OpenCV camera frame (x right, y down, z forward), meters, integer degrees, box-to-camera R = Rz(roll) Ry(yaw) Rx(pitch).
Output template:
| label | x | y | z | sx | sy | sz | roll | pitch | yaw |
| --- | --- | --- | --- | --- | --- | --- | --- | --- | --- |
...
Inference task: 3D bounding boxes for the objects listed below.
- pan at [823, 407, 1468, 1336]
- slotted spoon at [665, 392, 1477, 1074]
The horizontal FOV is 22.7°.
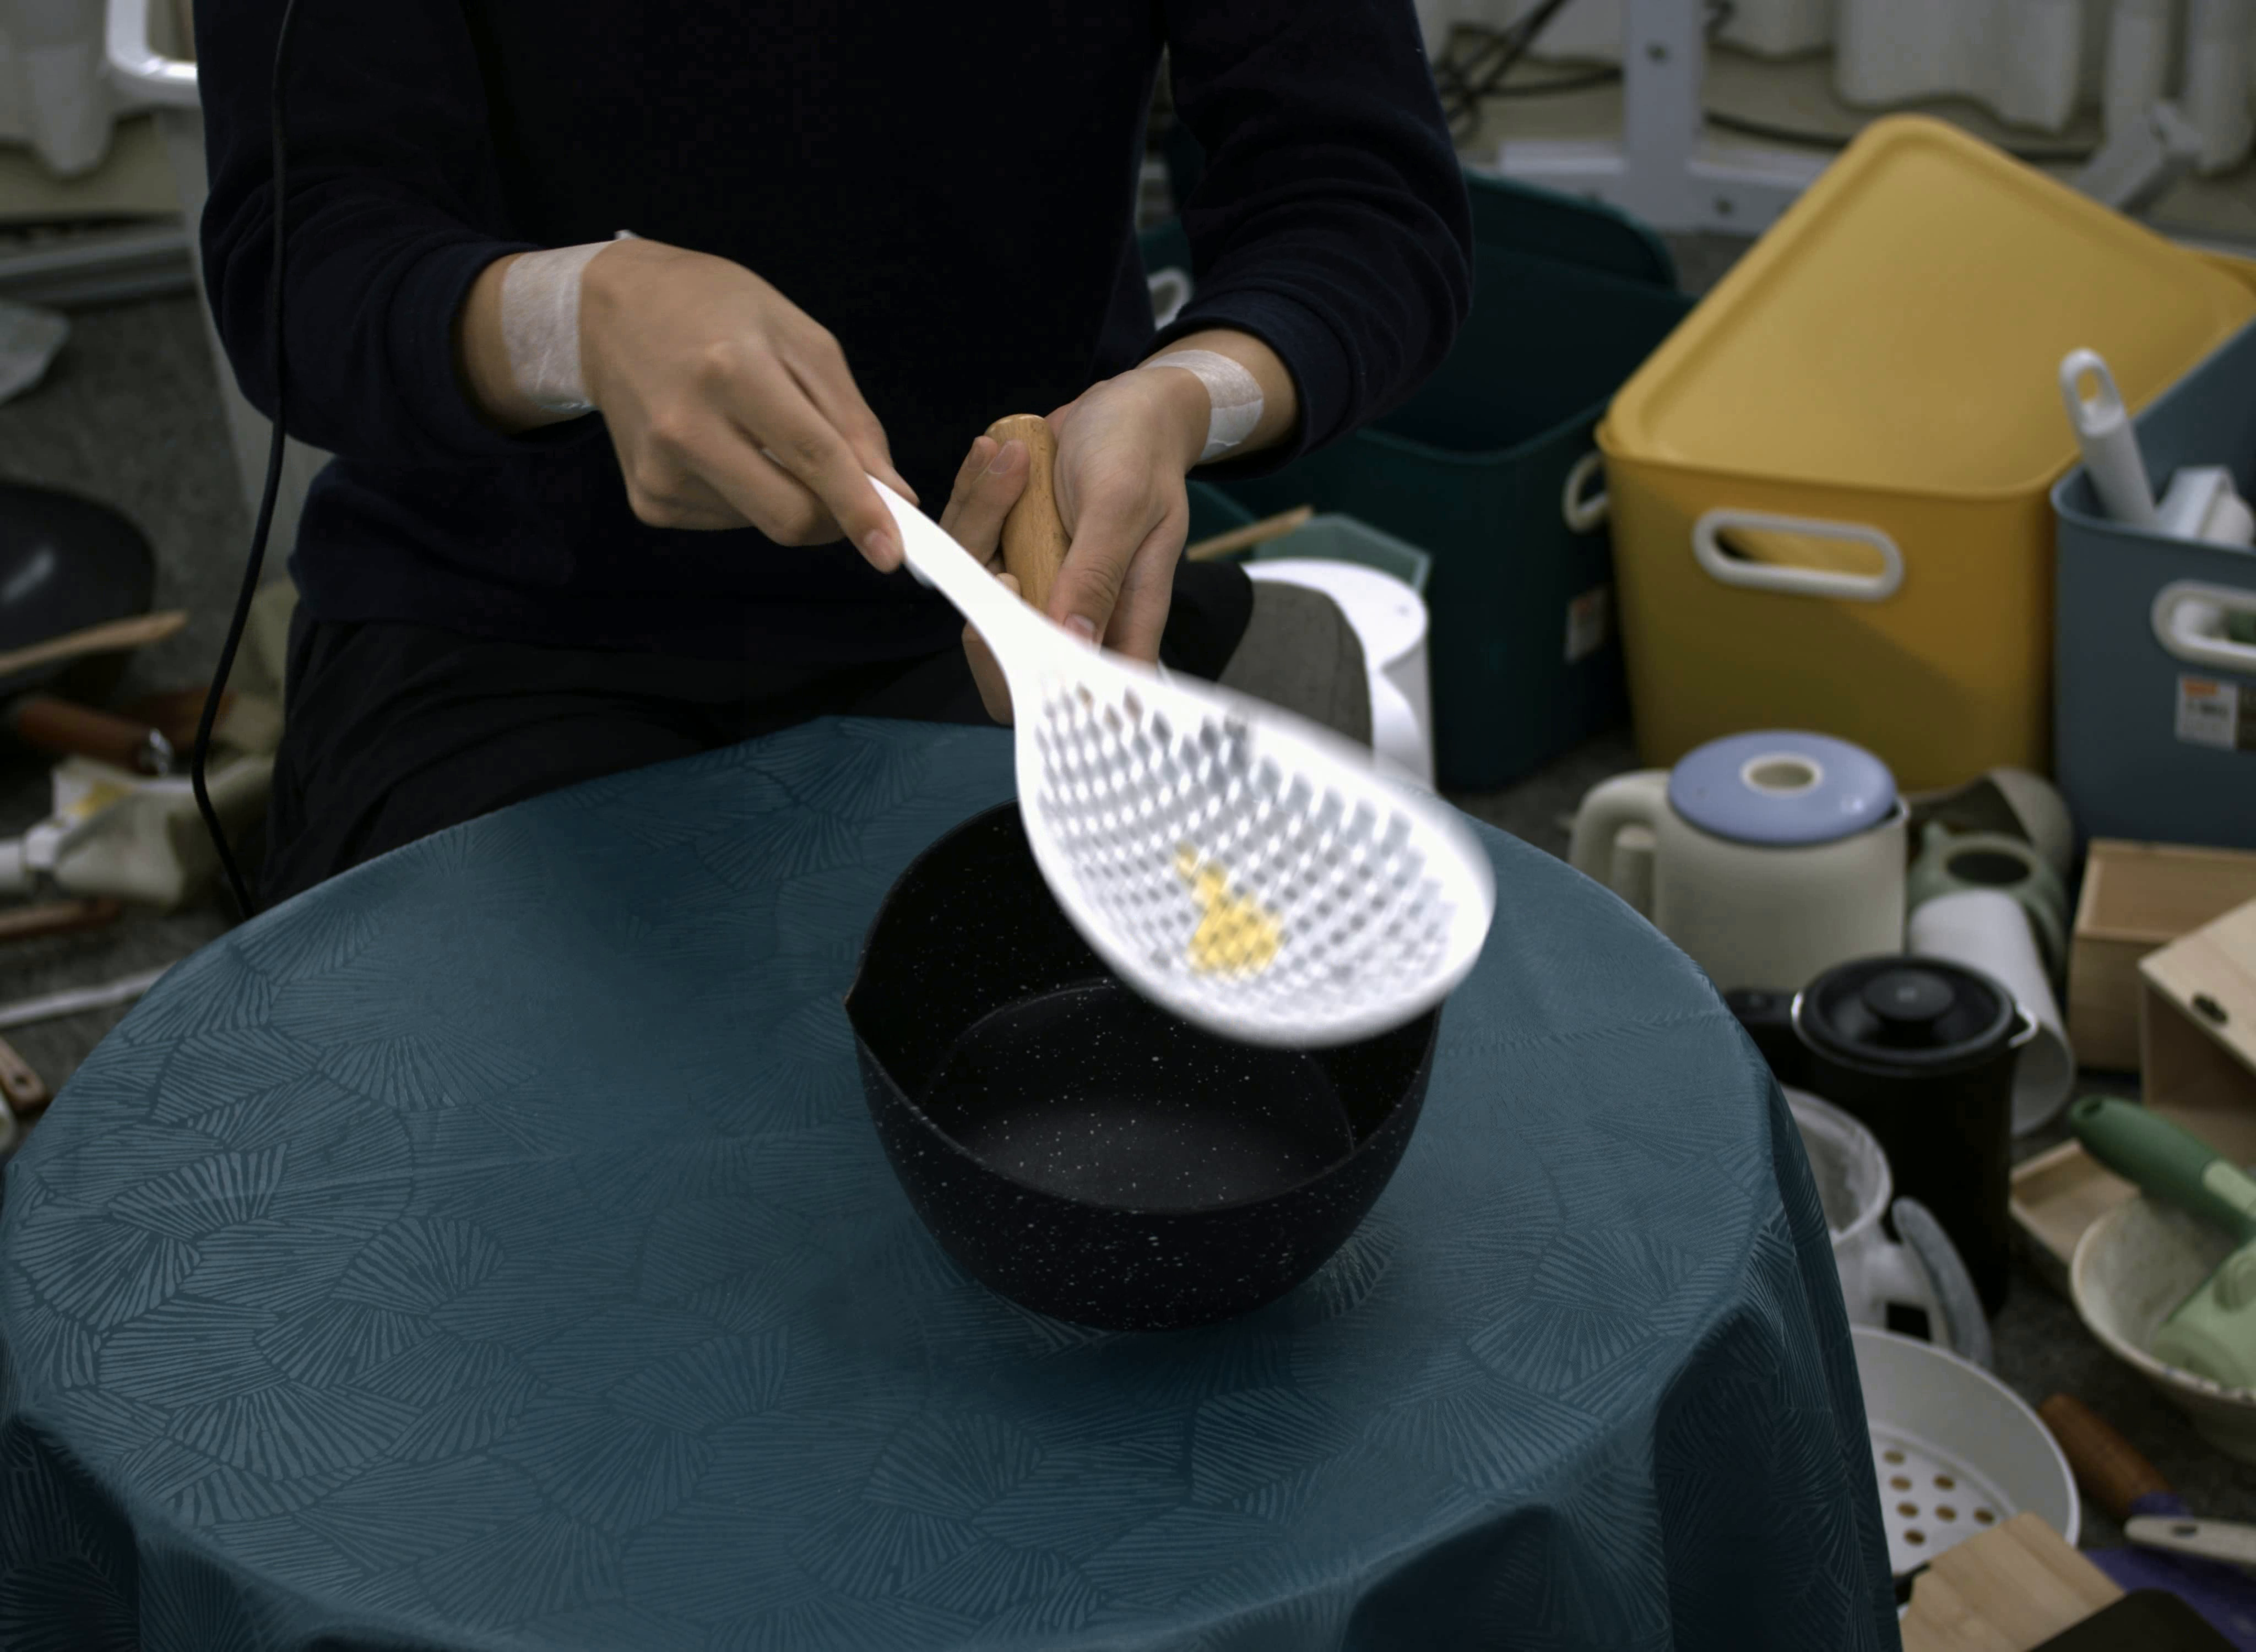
| label | x | y | z | sx | sy | sz | roll | pitch | yaw |
| --- | --- | --- | --- | --- | --- | --- | --- | --- | --- |
| pan | -0.011 | 0.014 | 1.854 | 0.207 | 0.106 | 0.349 | -6 | 48 | -11 |
| slotted spoon | -0.031 | -0.039 | 1.785 | 0.138 | 0.049 | 0.350 | -21 | 59 | -39 |
